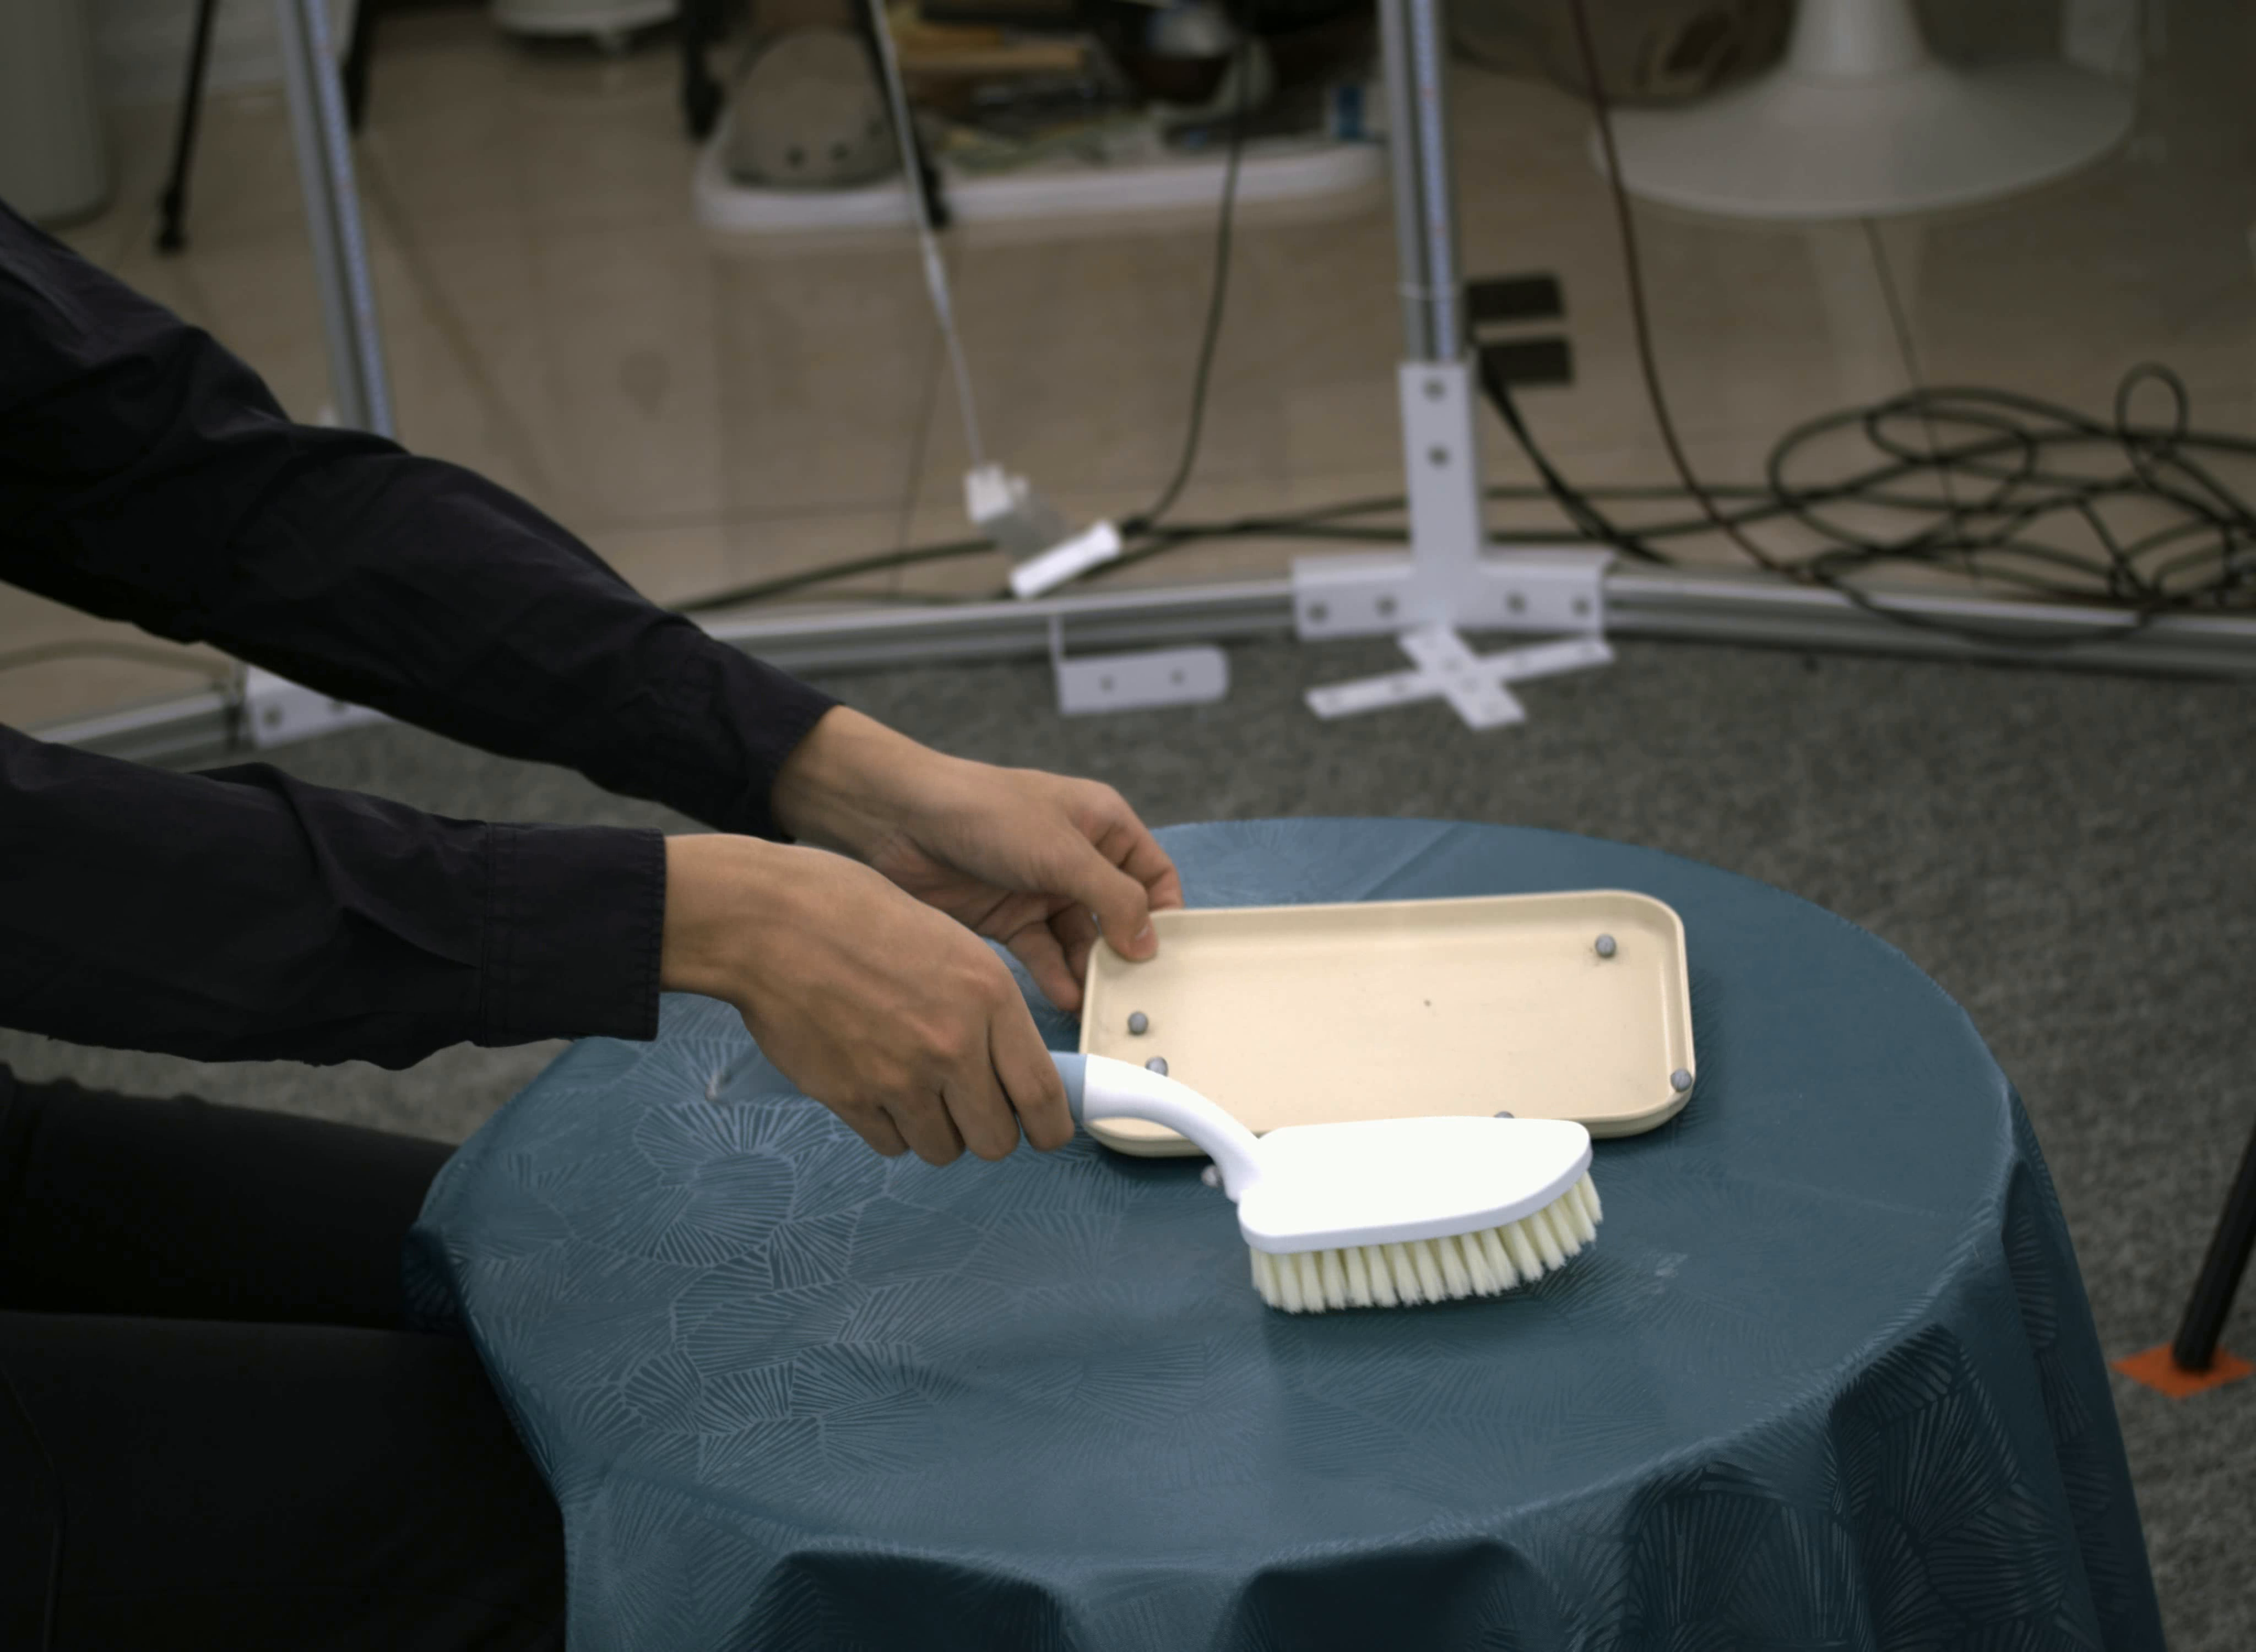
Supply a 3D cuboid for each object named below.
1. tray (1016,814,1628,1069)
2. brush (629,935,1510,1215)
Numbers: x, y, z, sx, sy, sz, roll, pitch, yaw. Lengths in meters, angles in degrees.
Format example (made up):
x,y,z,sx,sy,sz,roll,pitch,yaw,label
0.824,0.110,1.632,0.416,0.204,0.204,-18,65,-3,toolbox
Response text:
x,y,z,sx,sy,sz,roll,pitch,yaw,label
0.077,0.047,2.239,0.239,0.018,0.168,-3,29,5,tray
-0.022,0.096,2.086,0.325,0.084,0.083,5,-4,2,brush
